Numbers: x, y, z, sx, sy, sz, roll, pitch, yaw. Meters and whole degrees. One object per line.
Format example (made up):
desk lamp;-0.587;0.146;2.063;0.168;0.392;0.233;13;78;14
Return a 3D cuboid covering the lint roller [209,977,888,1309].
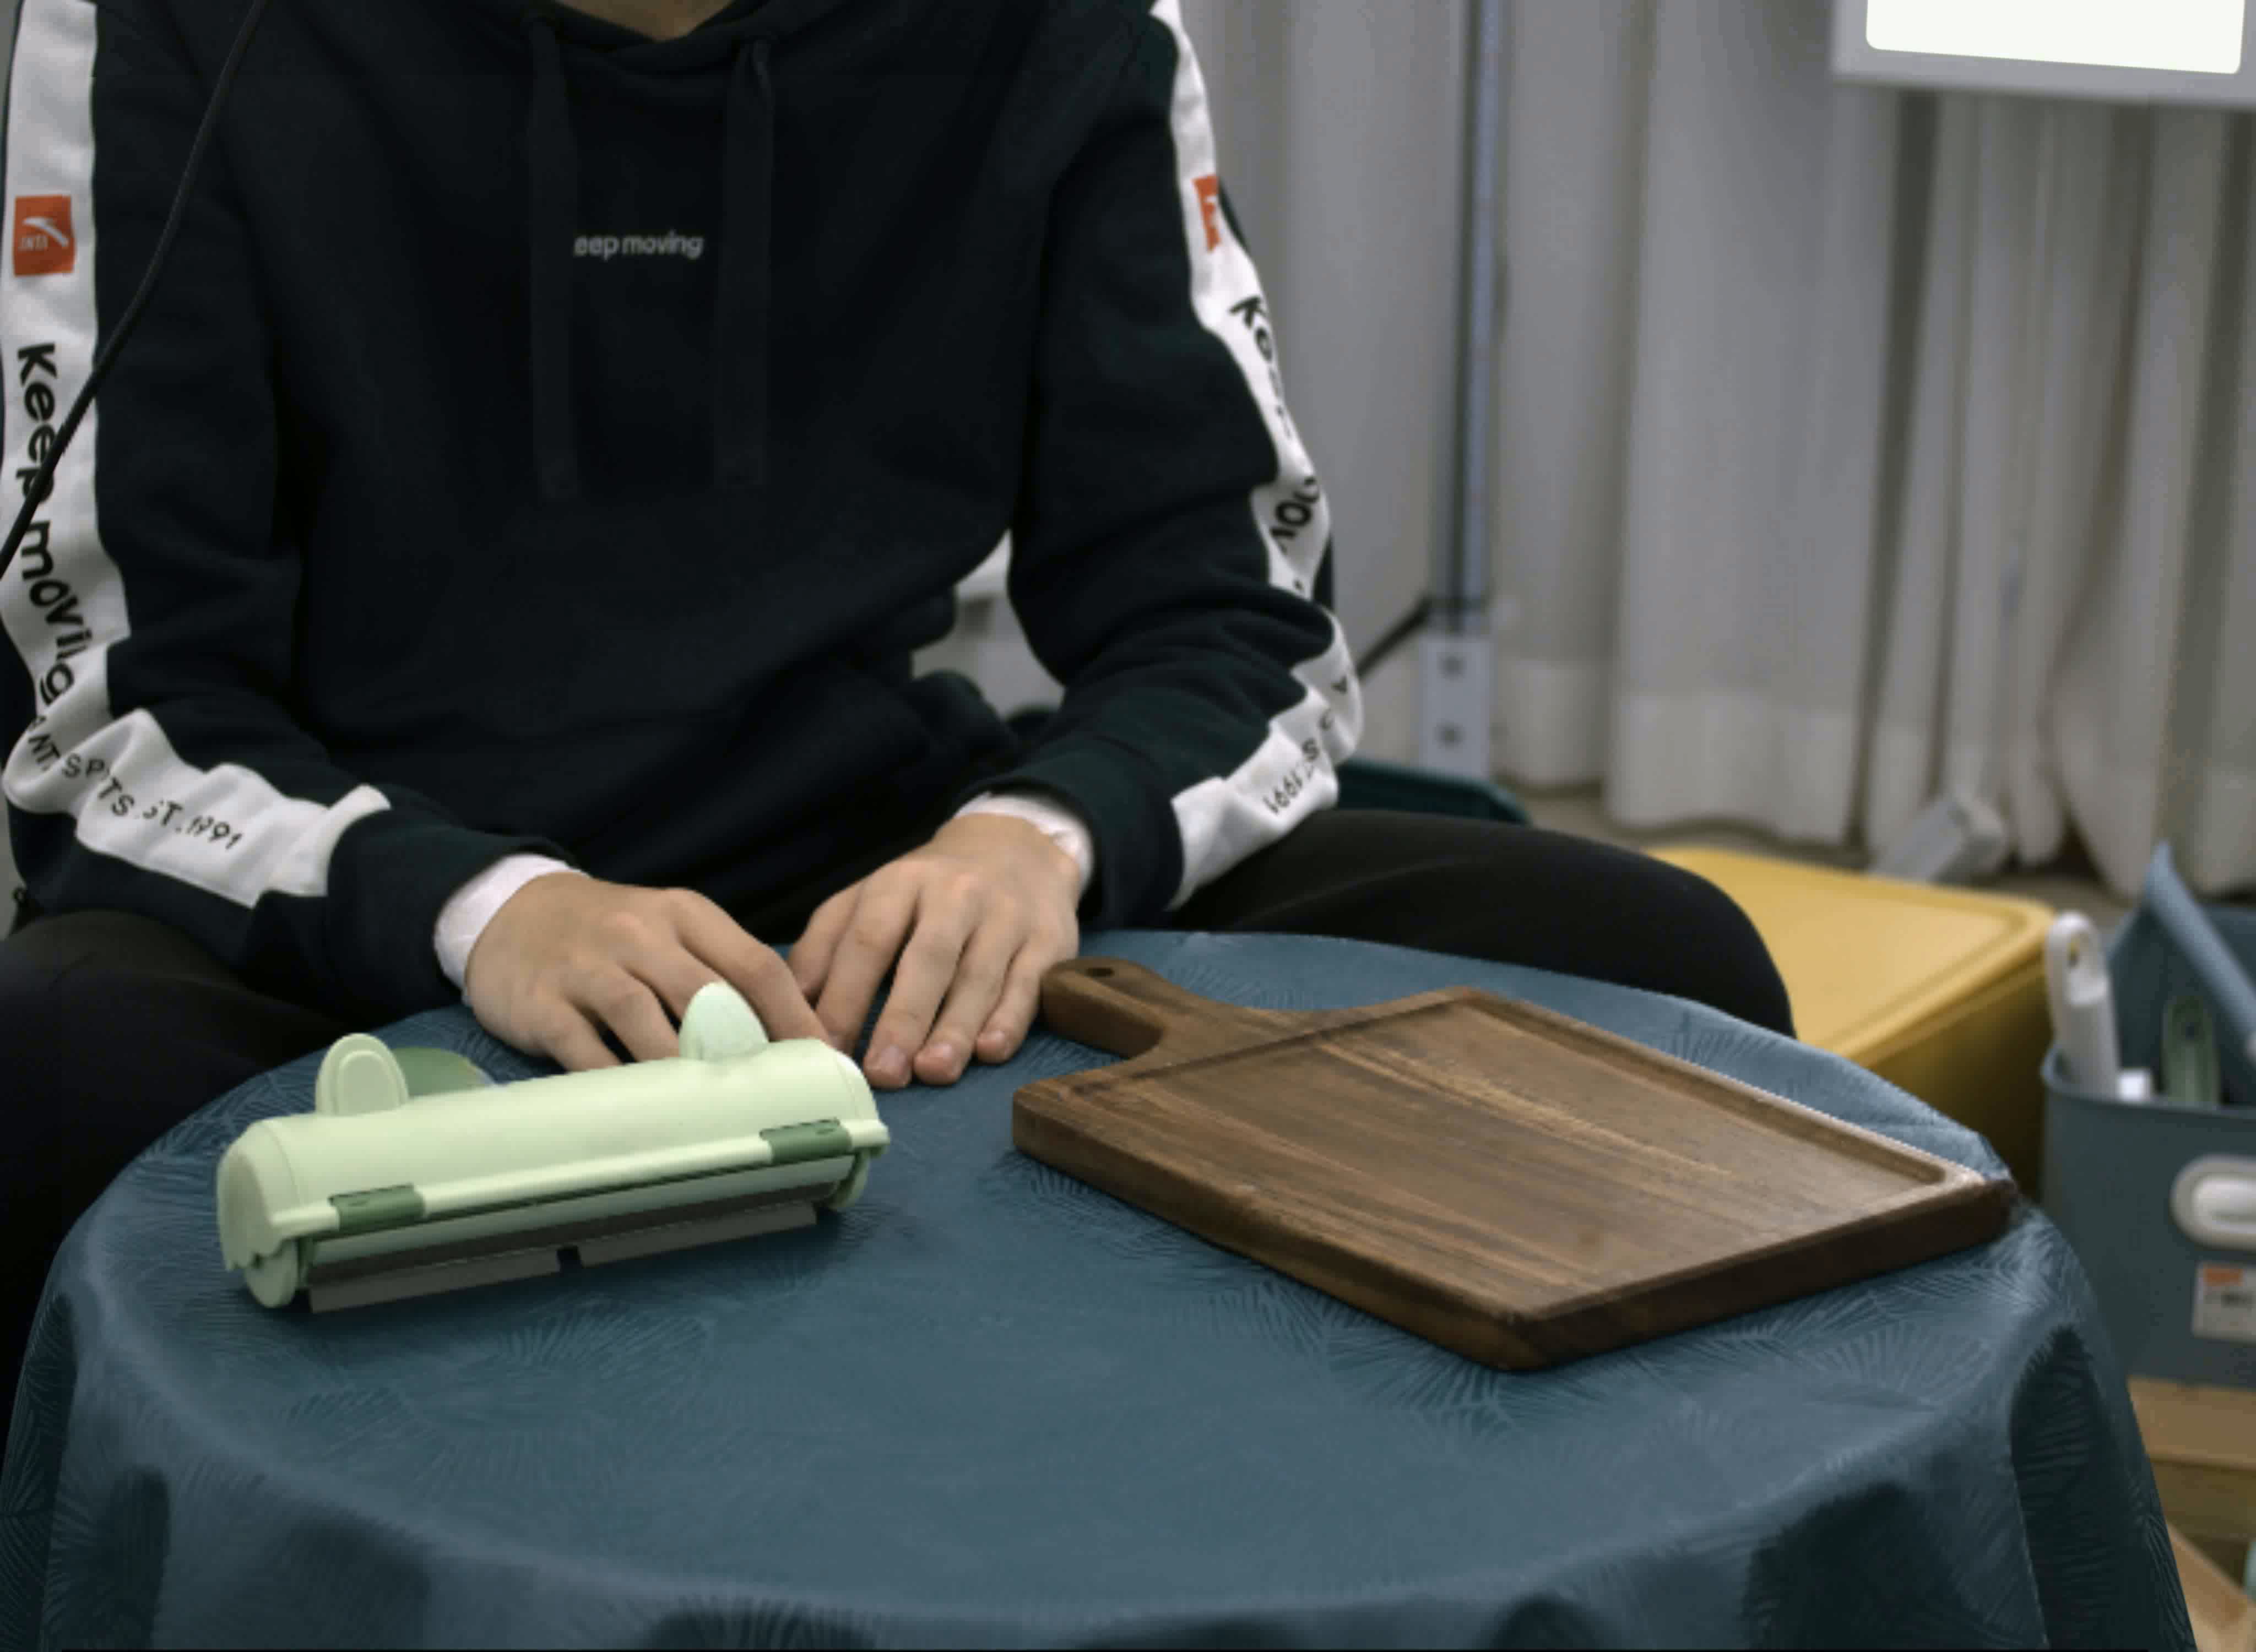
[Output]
lint roller;-0.196;0.077;1.594;0.199;0.083;0.181;-8;22;-28

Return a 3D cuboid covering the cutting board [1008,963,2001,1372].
cutting board;0.083;0.093;1.654;0.202;0.023;0.347;-11;19;-36
